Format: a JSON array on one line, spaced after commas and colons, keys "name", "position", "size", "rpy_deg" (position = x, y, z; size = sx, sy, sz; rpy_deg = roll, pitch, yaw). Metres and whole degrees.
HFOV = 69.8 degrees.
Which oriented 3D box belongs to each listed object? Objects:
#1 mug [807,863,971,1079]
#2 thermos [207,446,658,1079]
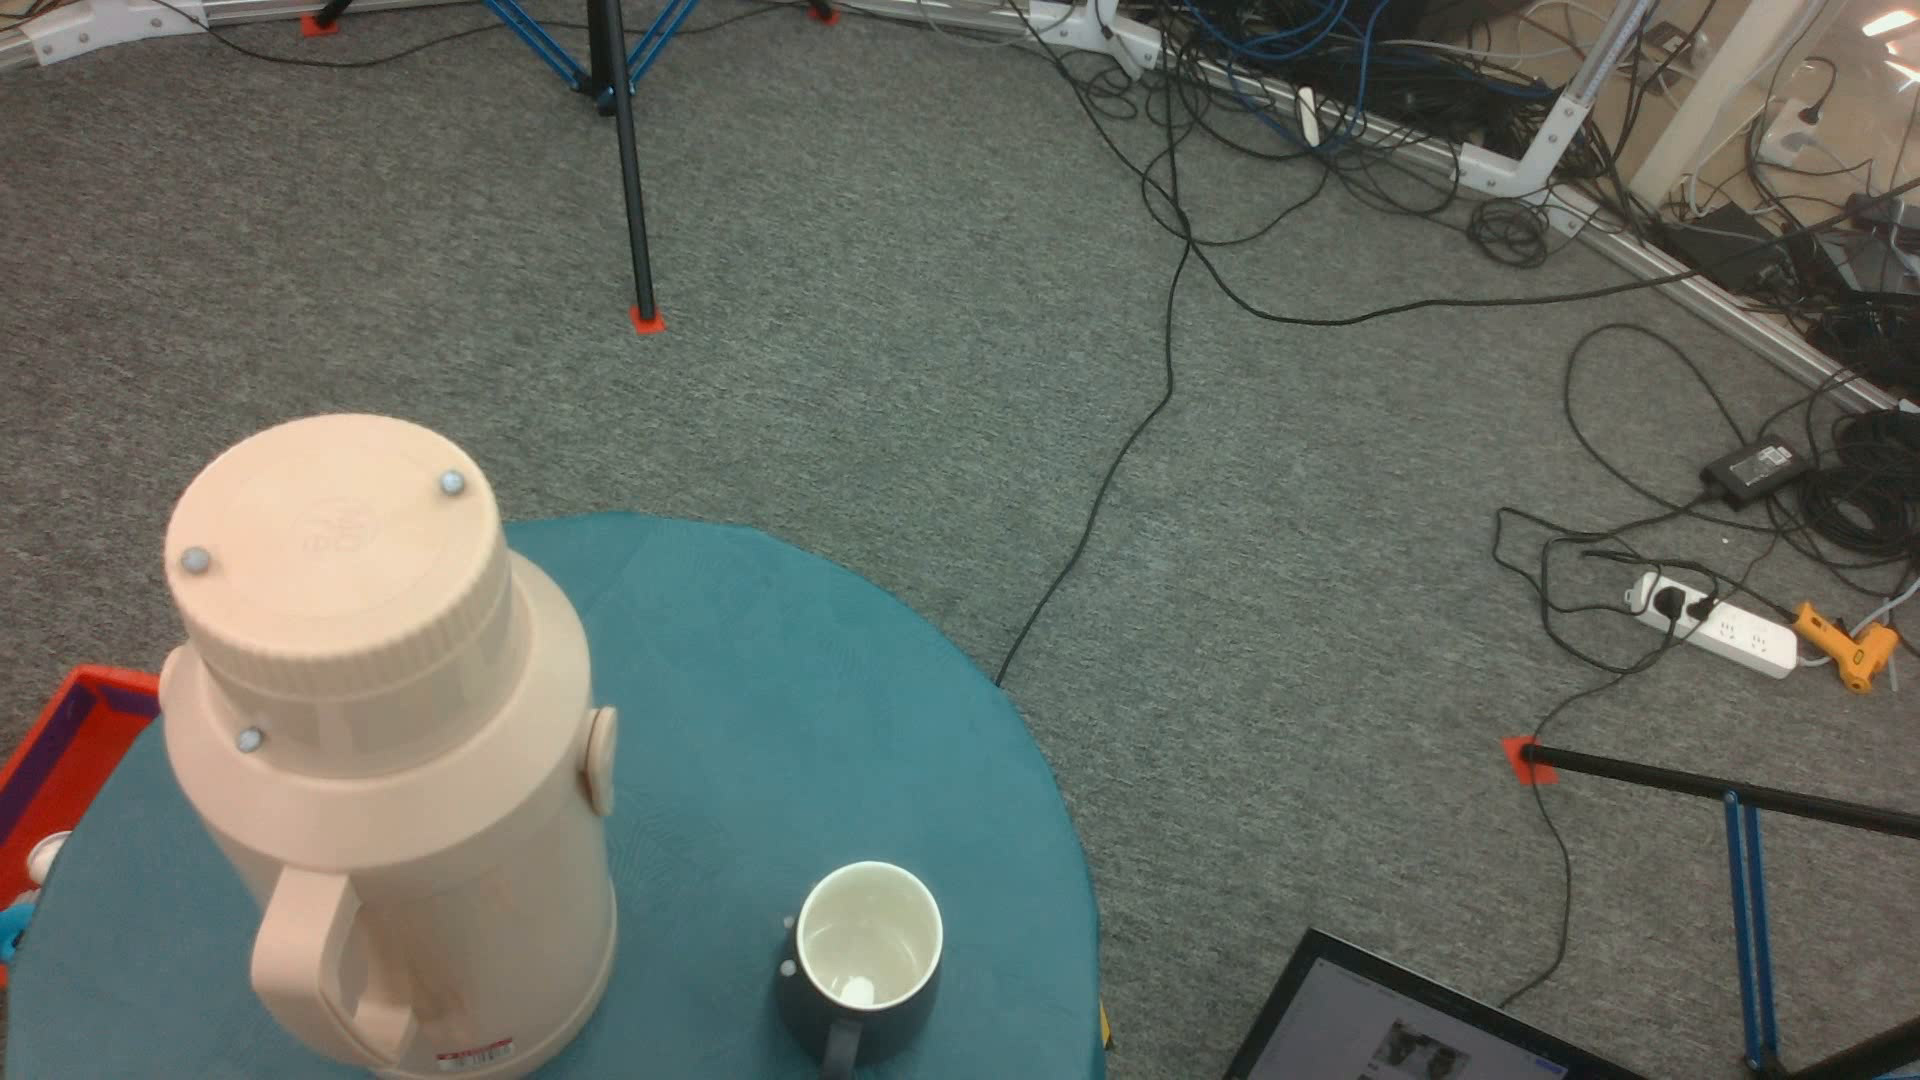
[{"name": "mug", "position": [-0.042, 0.250, 0.771], "size": [0.093, 0.089, 0.124], "rpy_deg": [13, 52, 1]}, {"name": "thermos", "position": [-0.235, 0.137, 0.633], "size": [0.175, 0.404, 0.208], "rpy_deg": [6, 52, -5]}]
